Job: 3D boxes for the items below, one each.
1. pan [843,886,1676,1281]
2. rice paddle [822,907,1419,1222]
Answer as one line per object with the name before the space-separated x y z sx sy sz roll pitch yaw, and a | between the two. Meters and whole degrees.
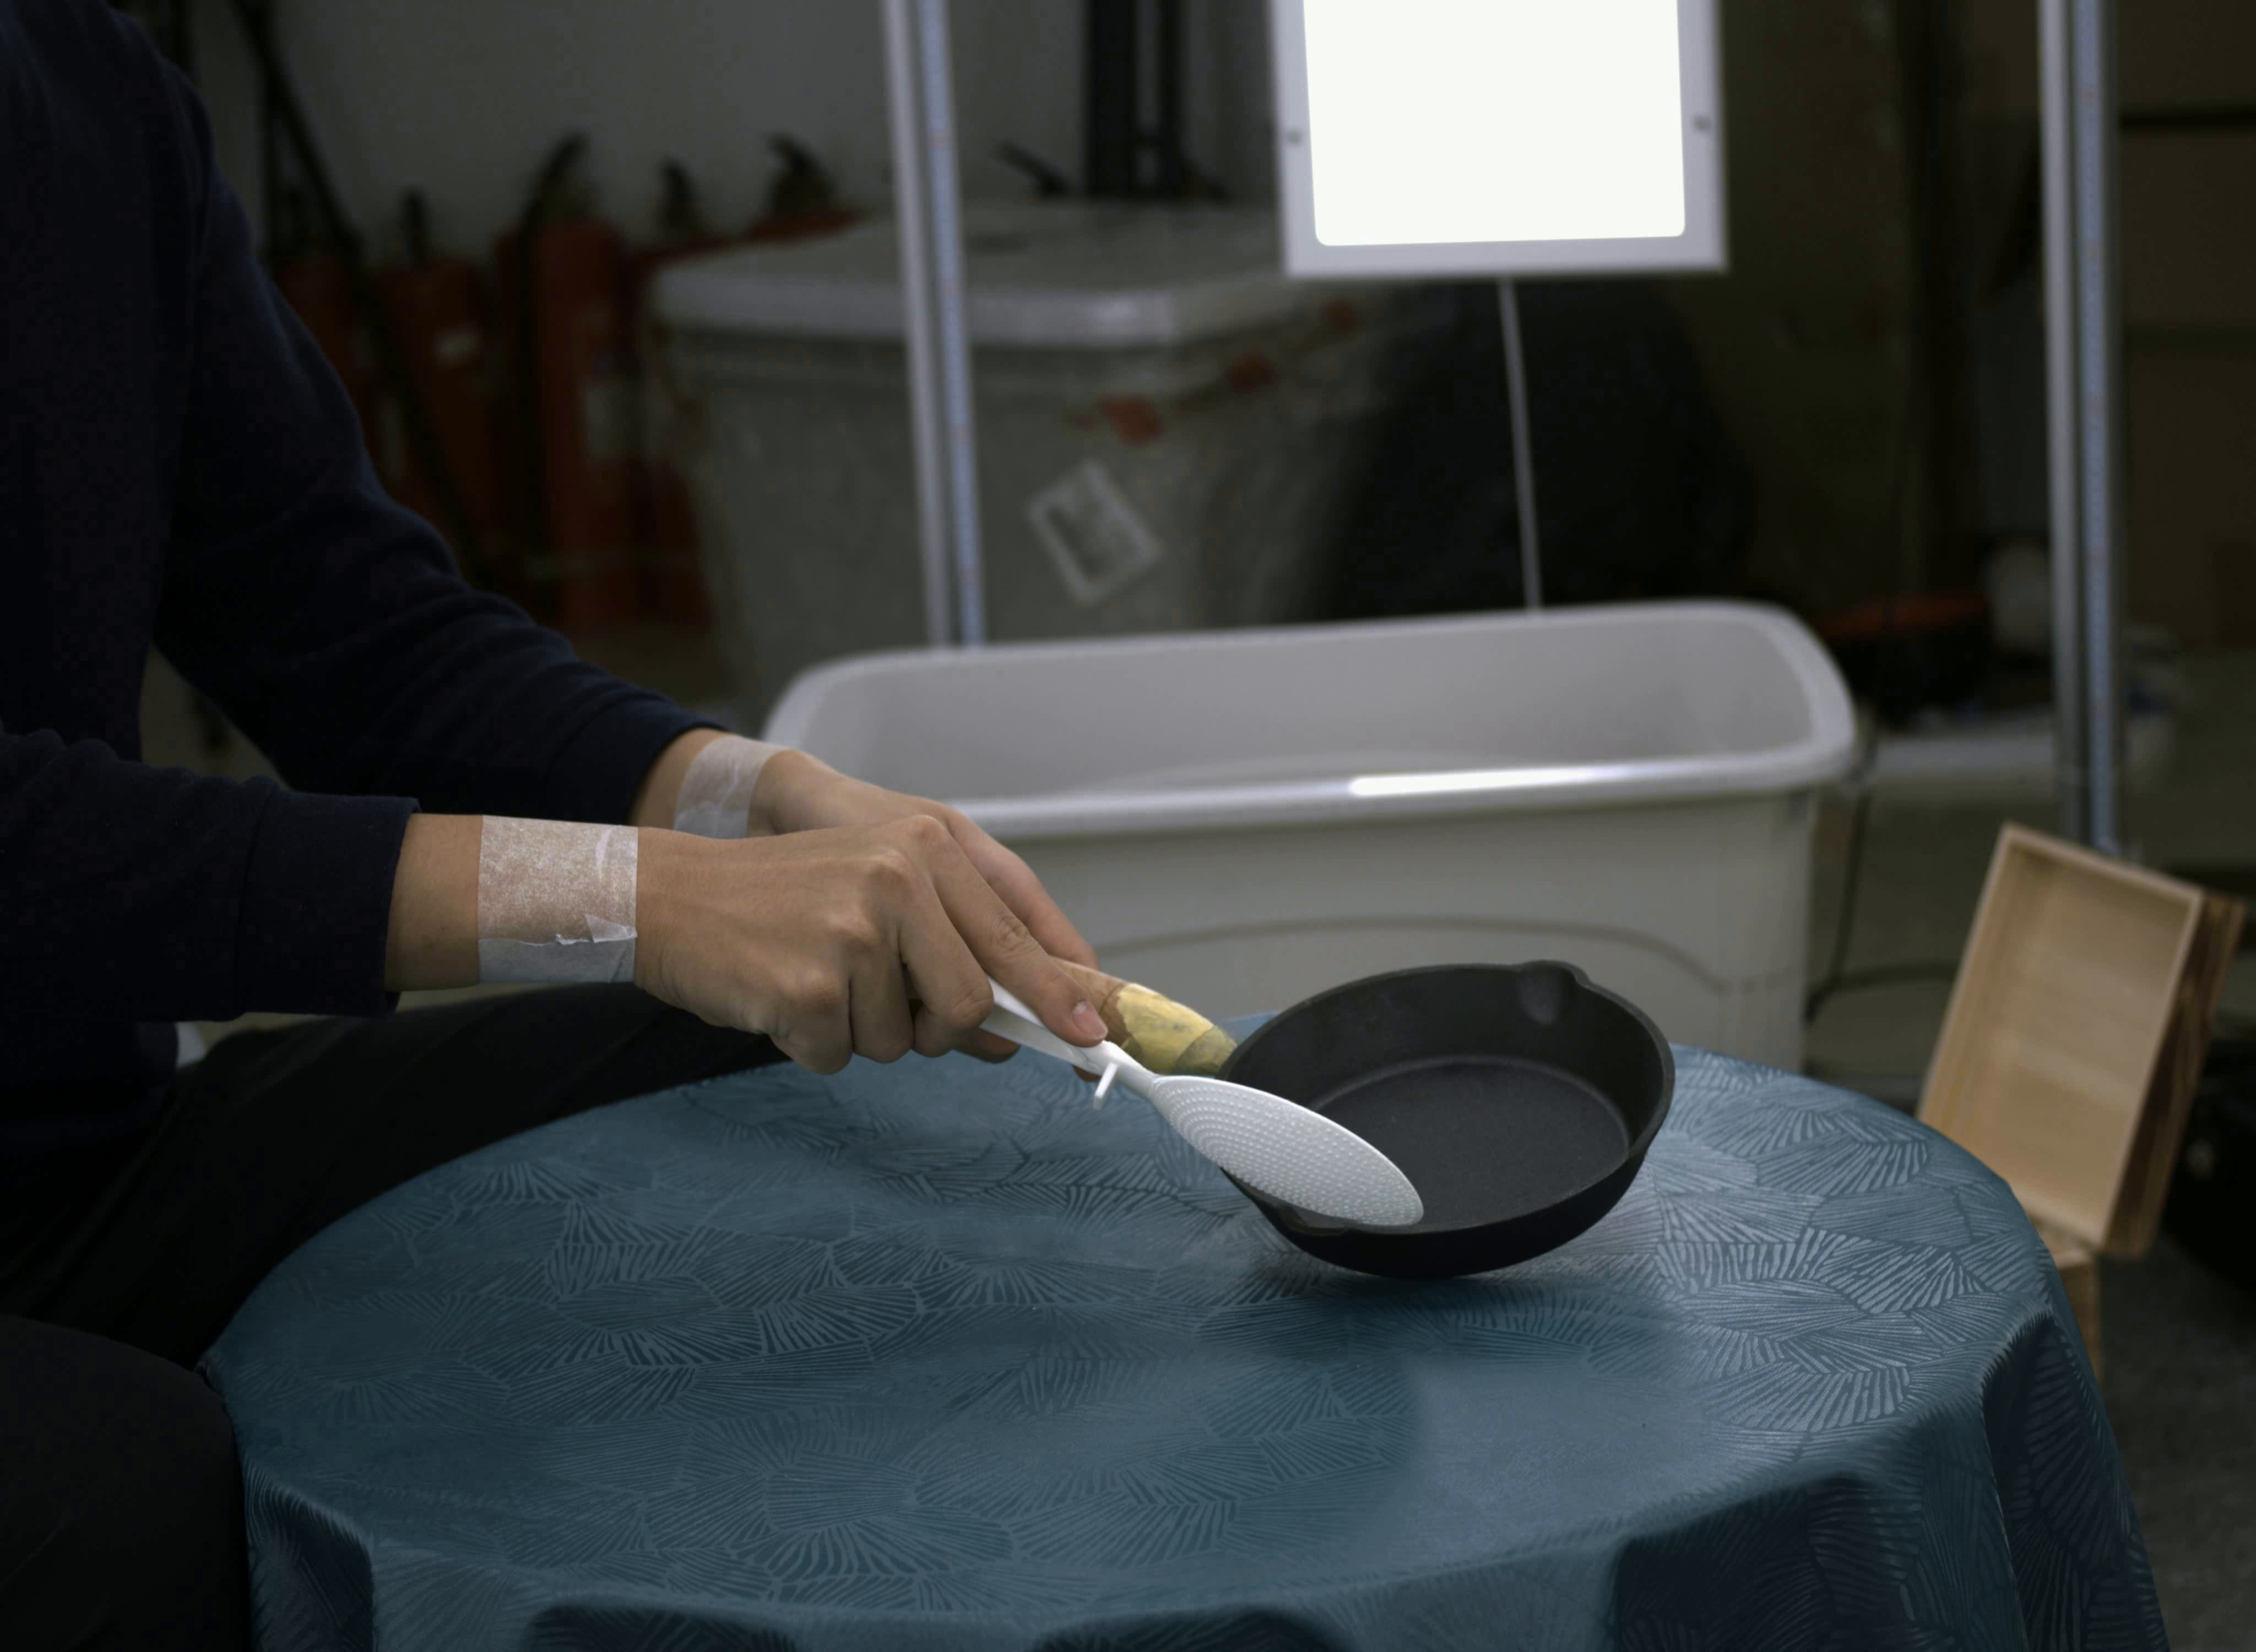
pan | 0.036 0.077 1.870 0.330 0.050 0.165 15 39 35
rice paddle | 0.000 0.079 1.756 0.206 0.029 0.069 23 -22 9
